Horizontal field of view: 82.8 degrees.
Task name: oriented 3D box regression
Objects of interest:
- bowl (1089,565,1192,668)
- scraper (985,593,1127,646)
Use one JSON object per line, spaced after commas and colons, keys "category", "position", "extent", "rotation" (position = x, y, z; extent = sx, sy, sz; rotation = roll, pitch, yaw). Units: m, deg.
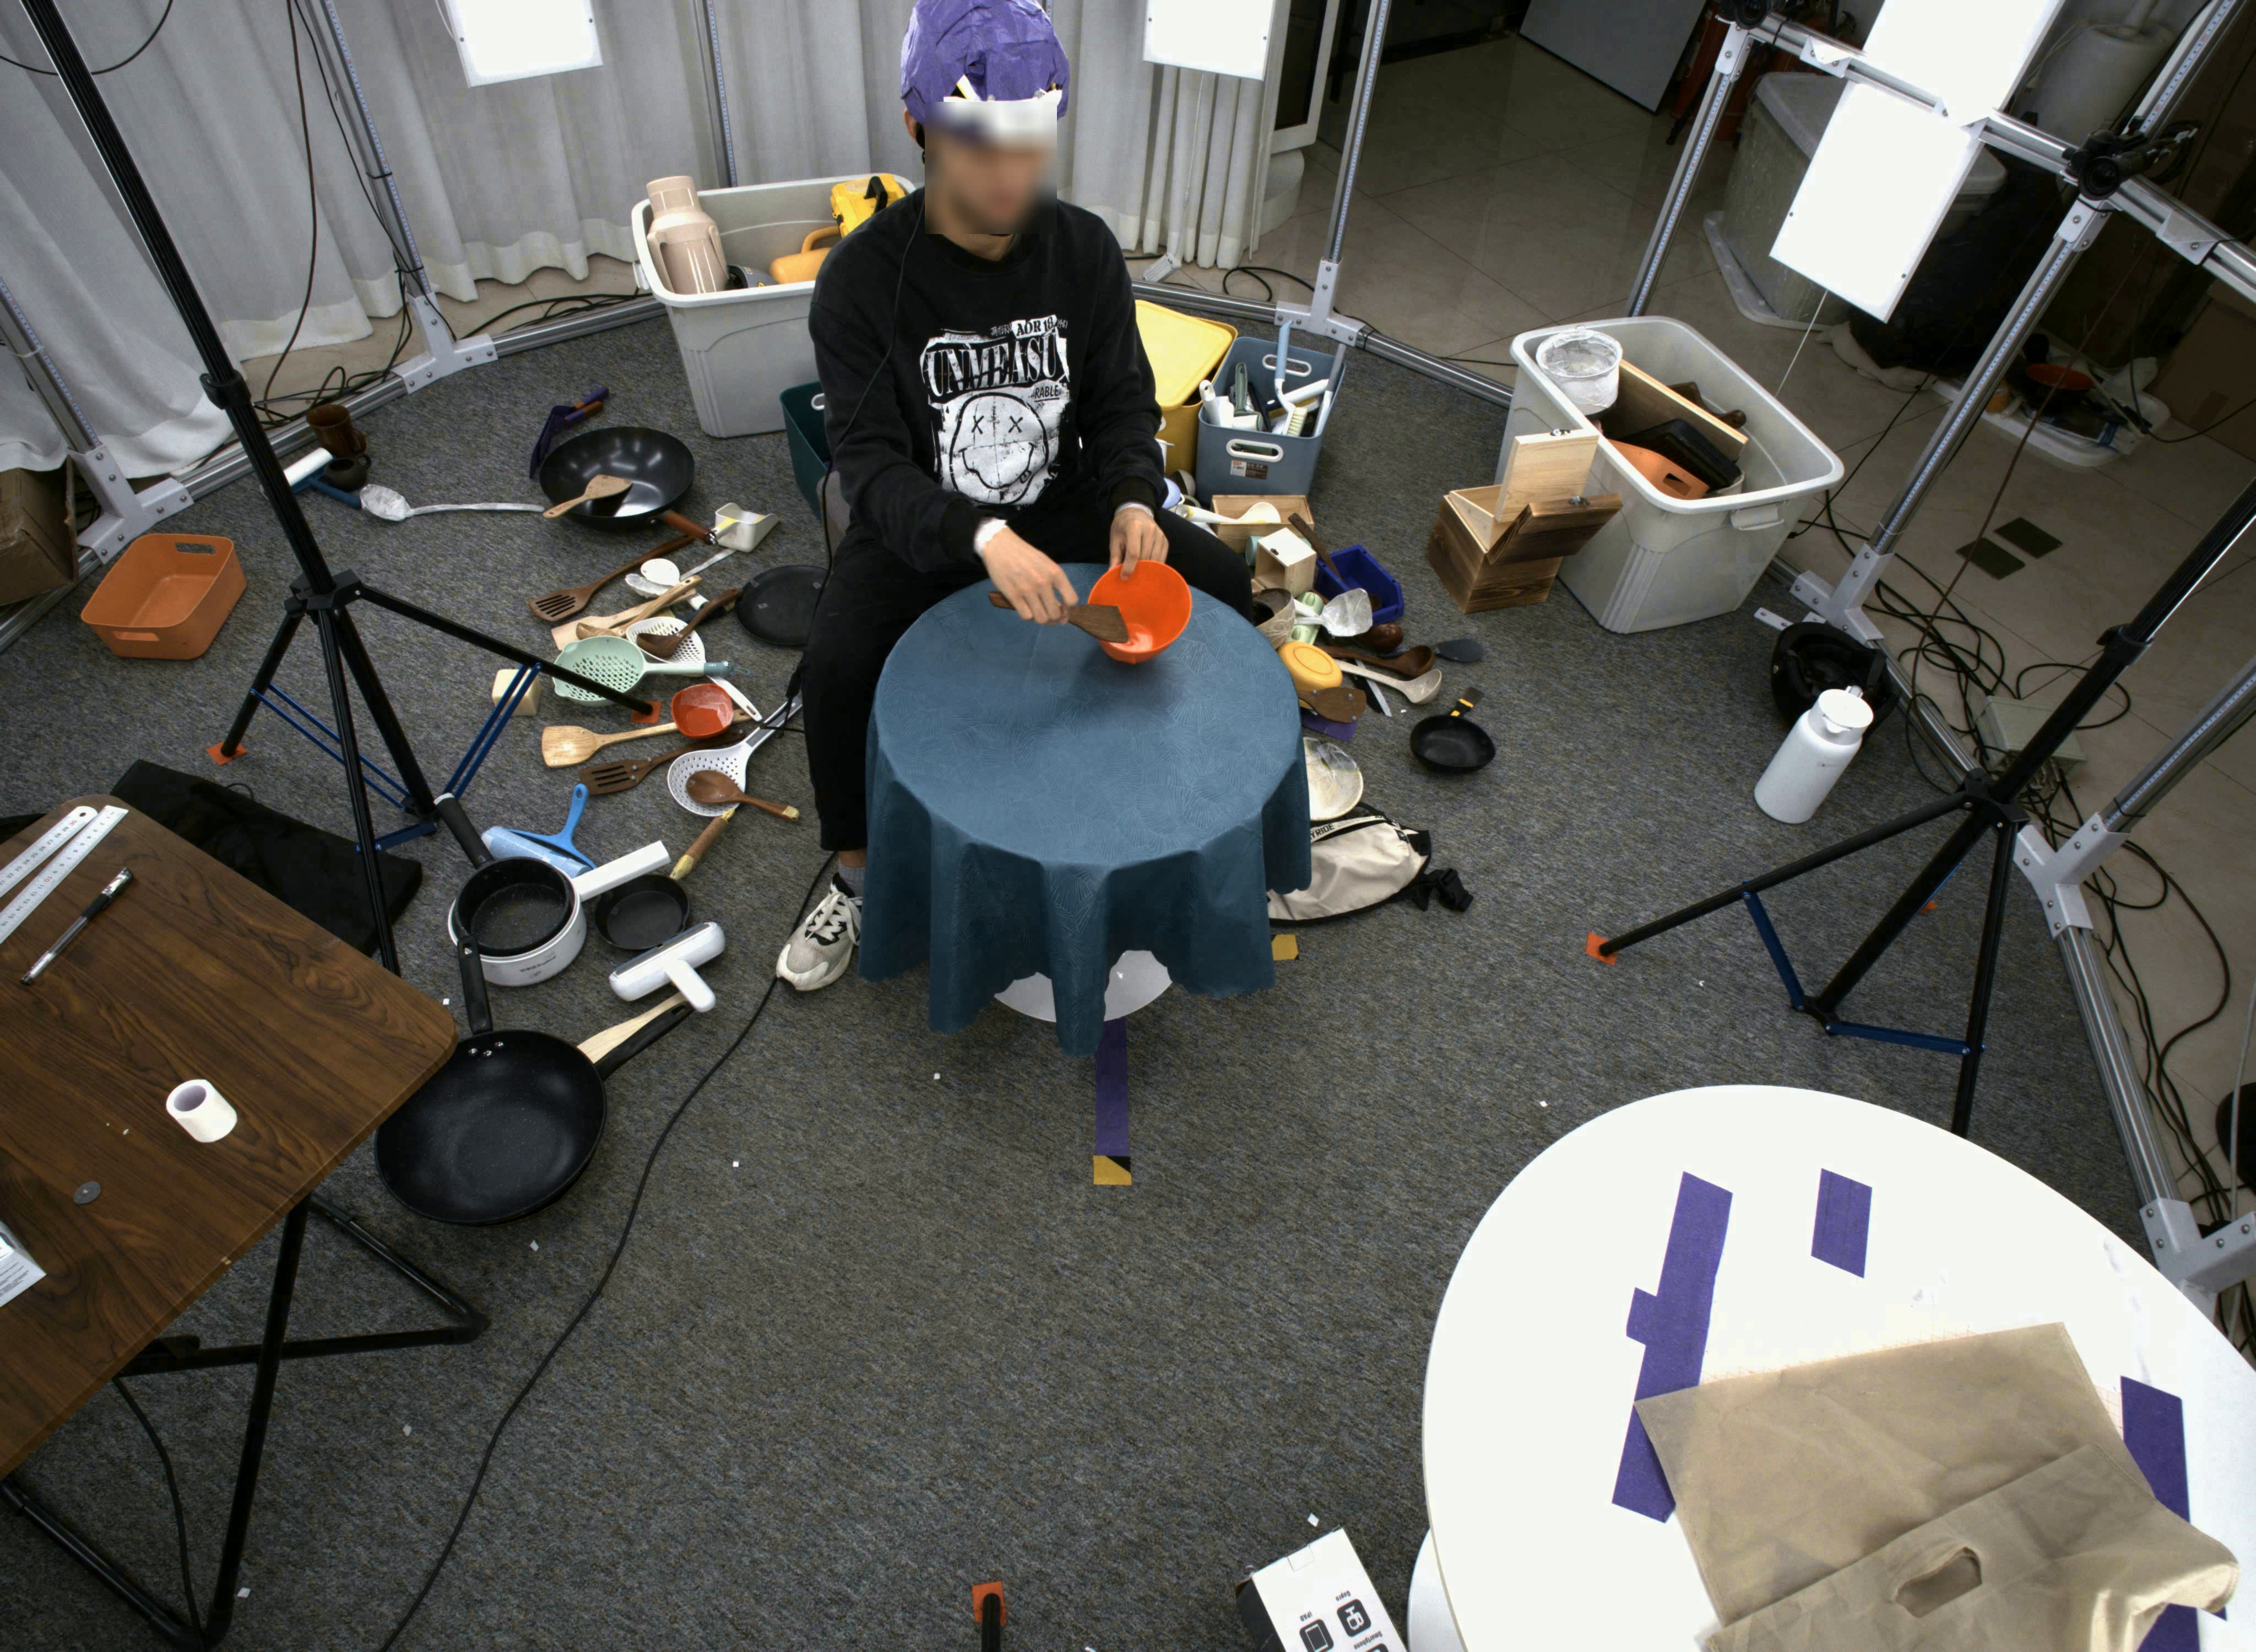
{"category": "bowl", "position": [0.017, -0.291, 1.864], "extent": [0.148, 0.102, 0.151], "rotation": [1, 63, -2]}
{"category": "scraper", "position": [-0.098, -0.291, 1.769], "extent": [0.210, 0.010, 0.078], "rotation": [8, 46, -29]}
